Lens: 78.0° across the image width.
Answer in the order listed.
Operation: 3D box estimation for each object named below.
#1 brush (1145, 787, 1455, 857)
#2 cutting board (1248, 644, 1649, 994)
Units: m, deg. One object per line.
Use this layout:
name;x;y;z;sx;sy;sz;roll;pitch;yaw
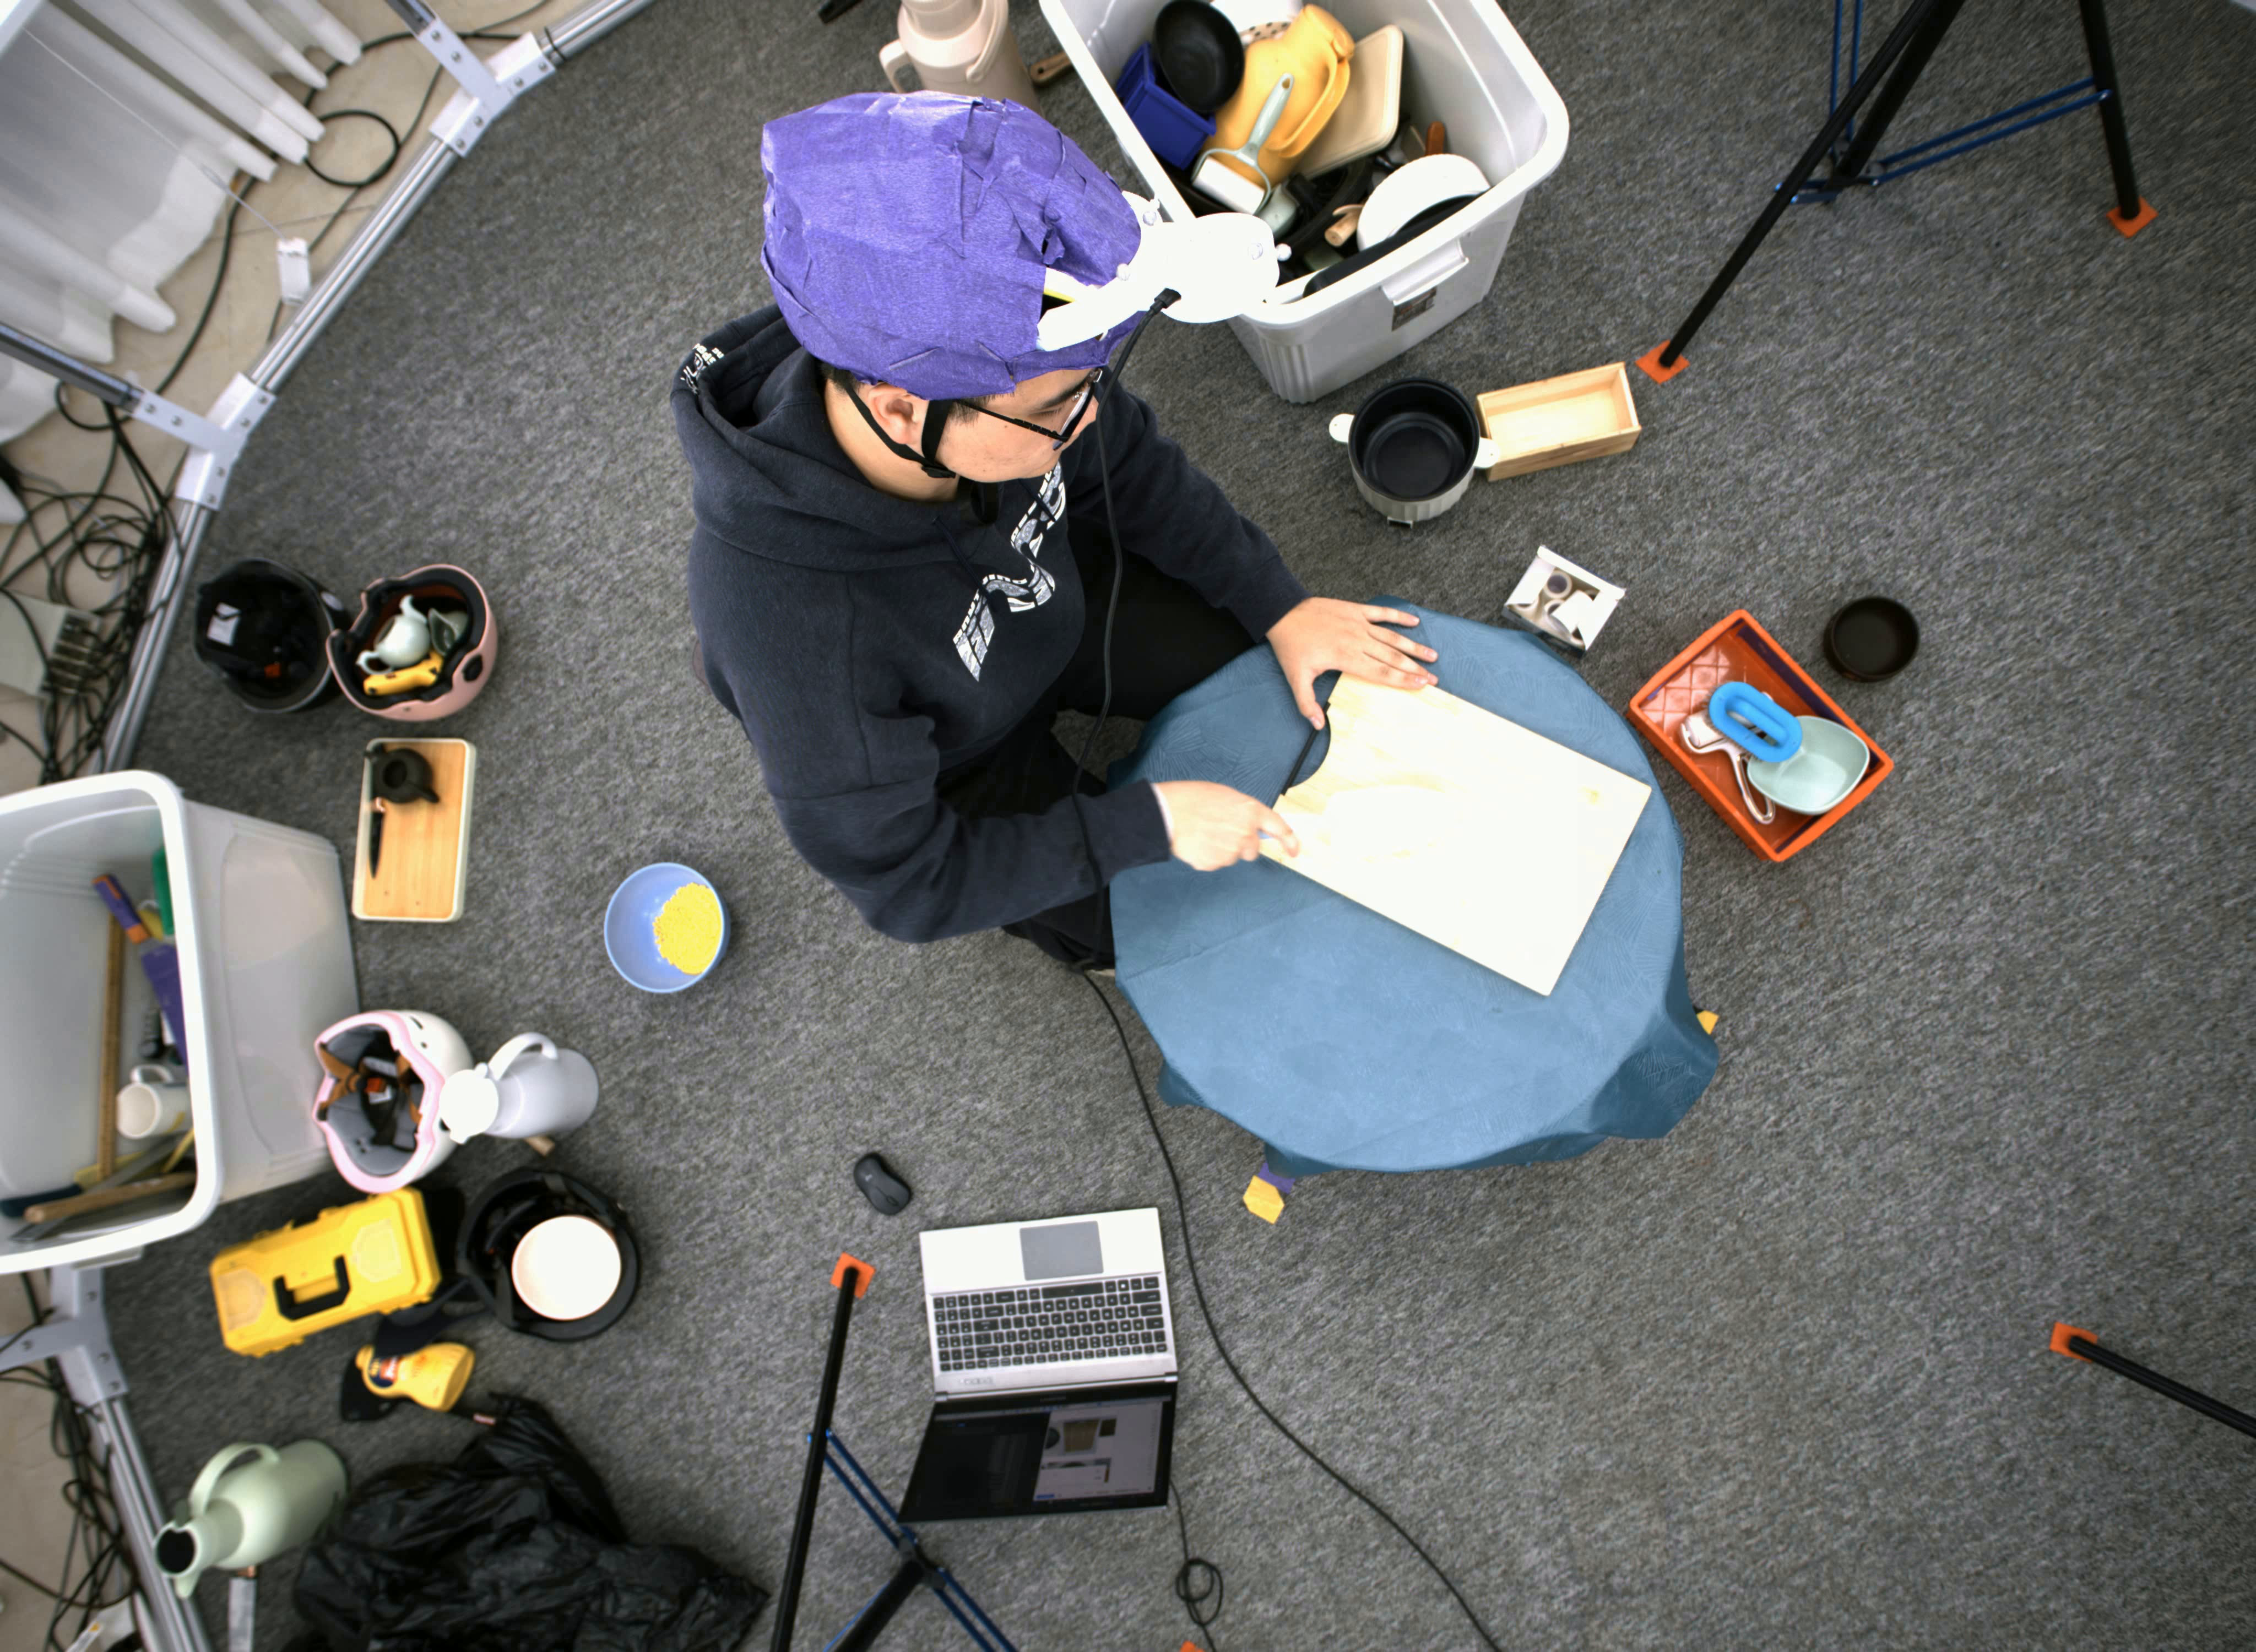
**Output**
brush;0.173;-0.001;1.414;0.325;0.087;0.081;-7;51;-7
cutting board;0.332;-0.012;1.446;0.348;0.023;0.251;26;91;11
